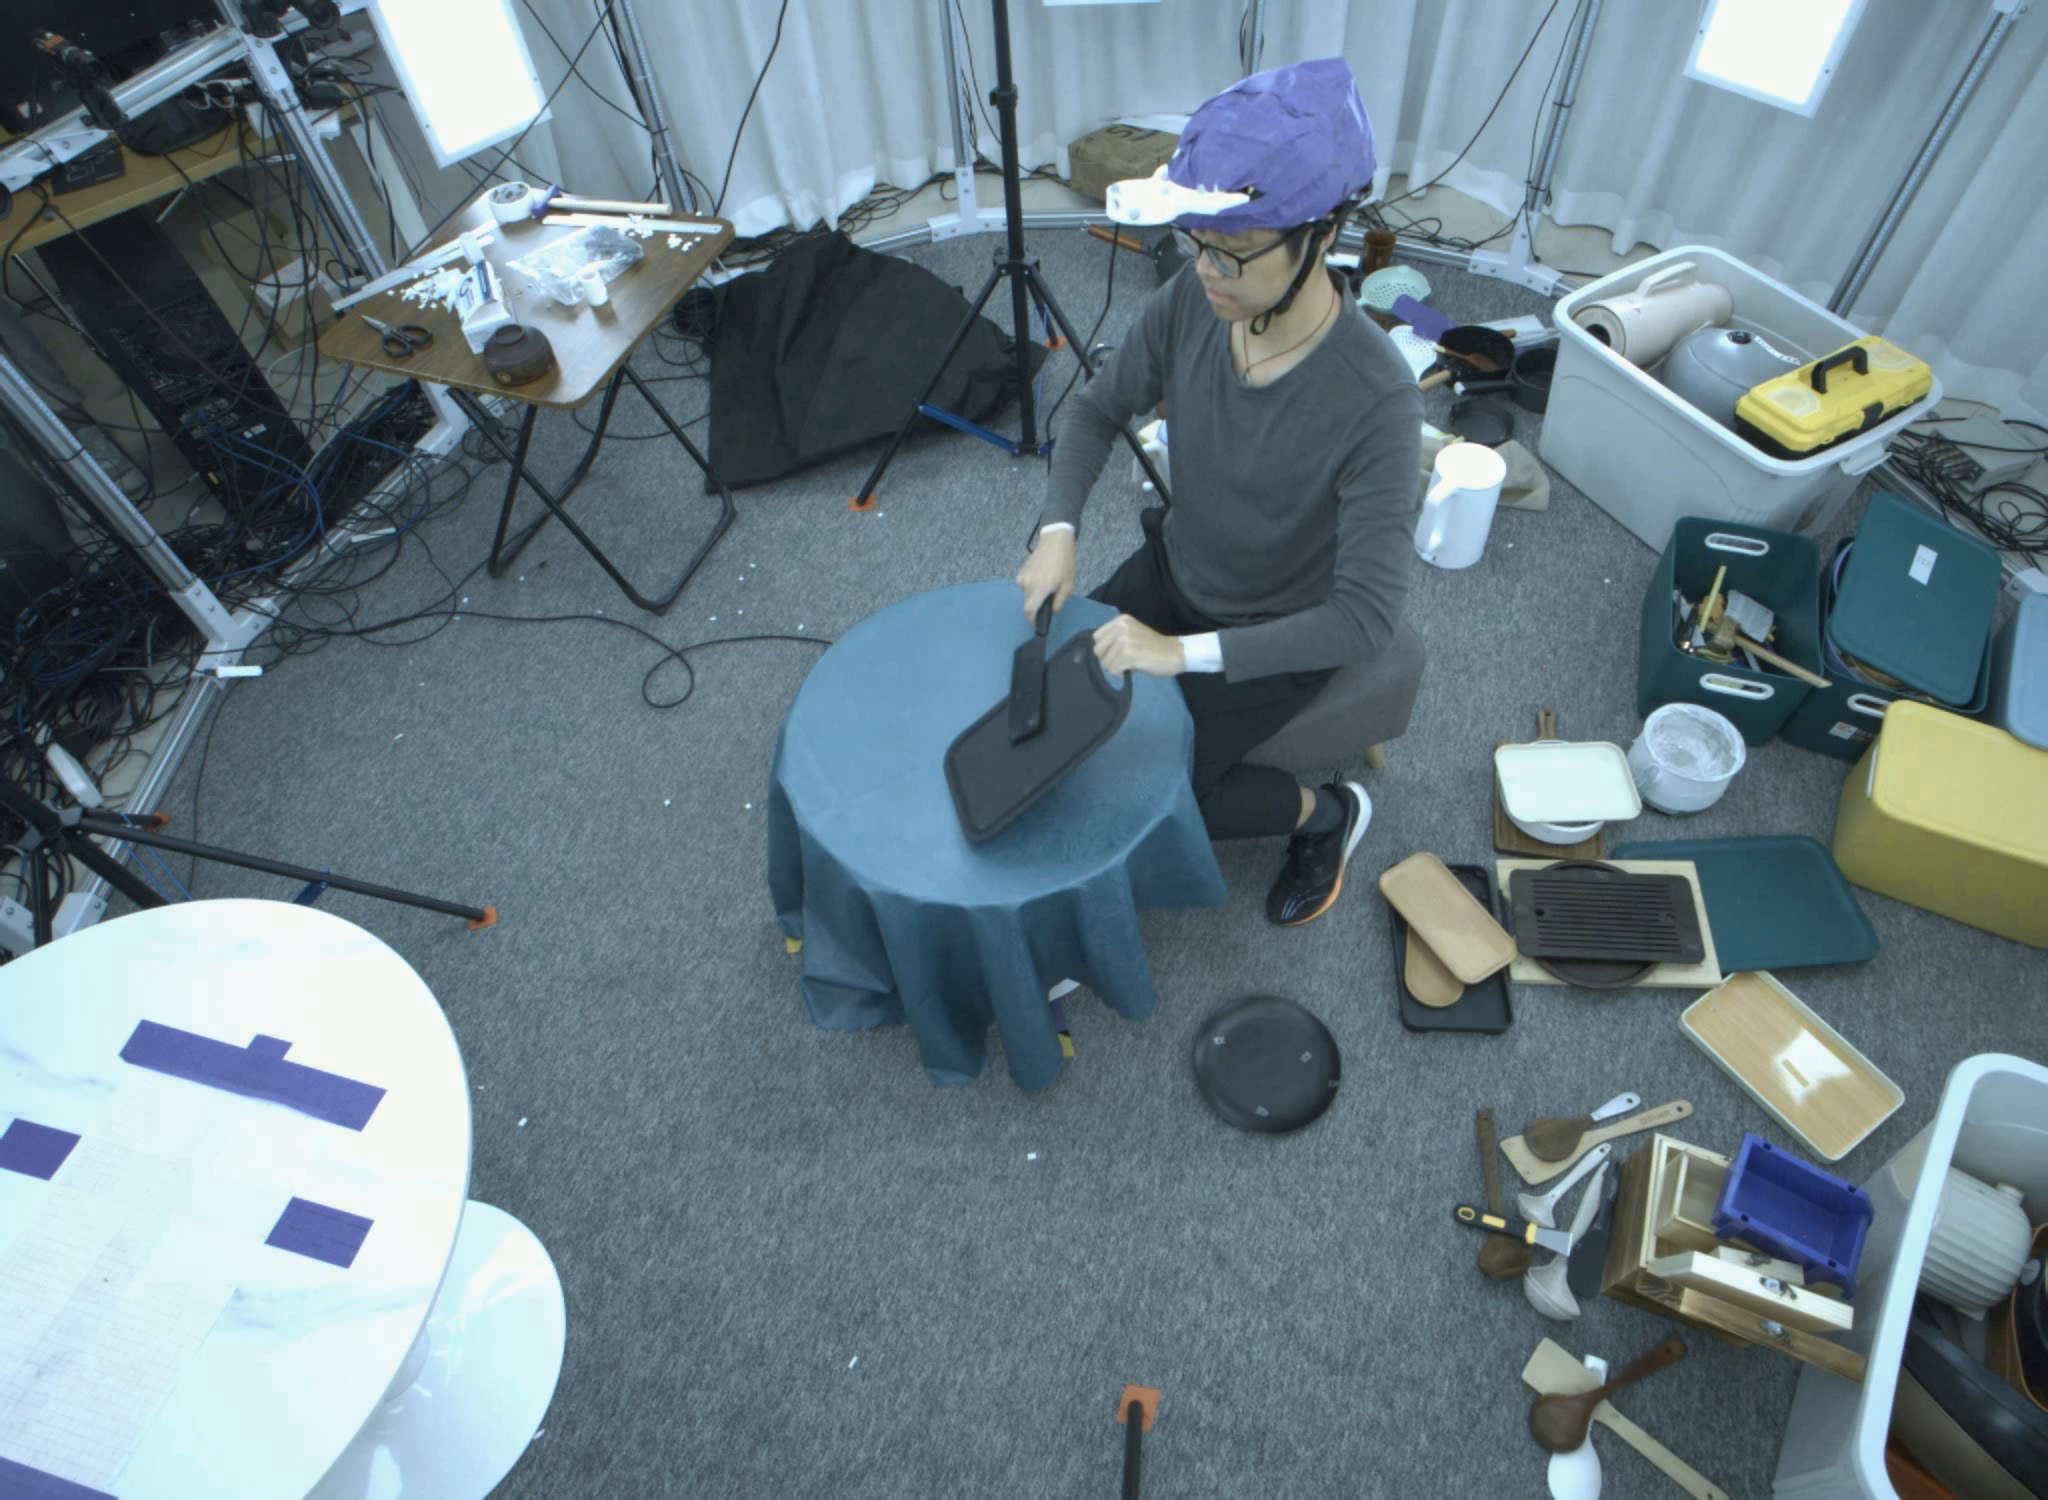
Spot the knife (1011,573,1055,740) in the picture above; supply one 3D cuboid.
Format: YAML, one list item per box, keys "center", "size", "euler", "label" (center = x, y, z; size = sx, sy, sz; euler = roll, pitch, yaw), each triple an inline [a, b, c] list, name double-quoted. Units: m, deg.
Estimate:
- center: [0.014, -0.142, 1.772]
  size: [0.080, 0.021, 0.300]
  euler: [-23, 45, 37]
  label: "knife"

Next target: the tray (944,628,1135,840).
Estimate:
- center: [0.018, -0.029, 1.686]
  size: [0.323, 0.010, 0.207]
  euler: [-39, 43, 18]
  label: "tray"
